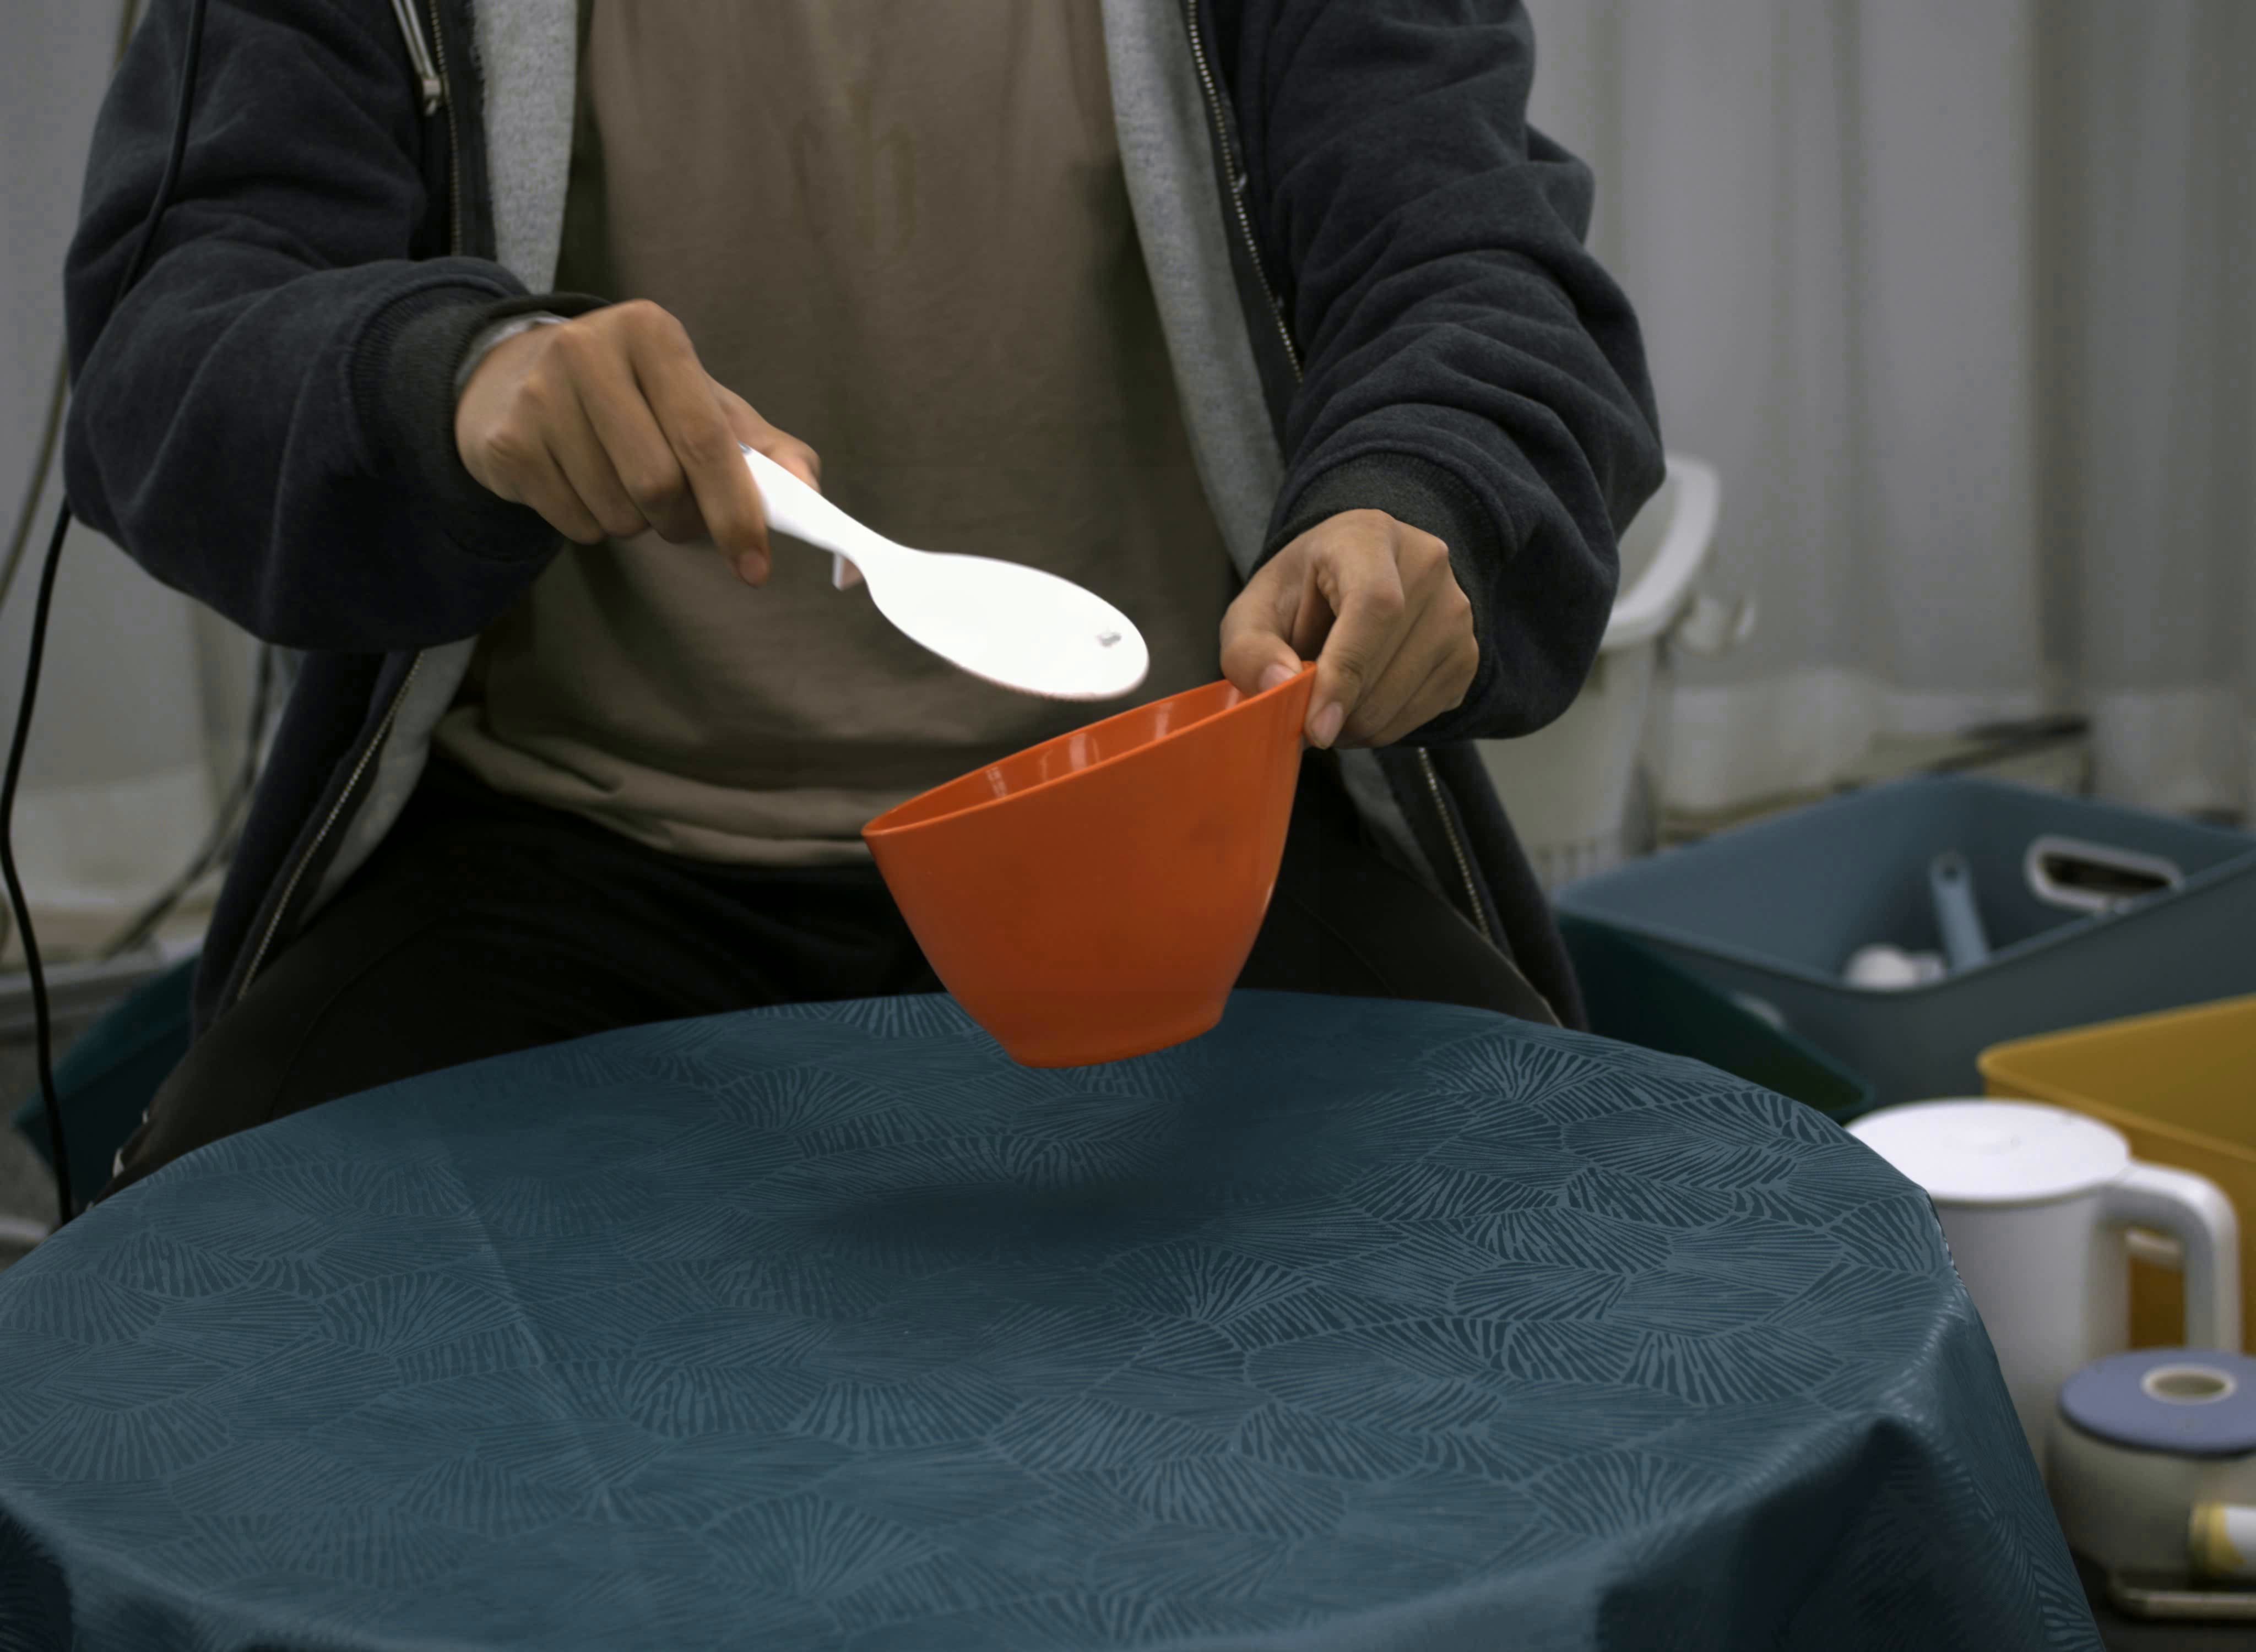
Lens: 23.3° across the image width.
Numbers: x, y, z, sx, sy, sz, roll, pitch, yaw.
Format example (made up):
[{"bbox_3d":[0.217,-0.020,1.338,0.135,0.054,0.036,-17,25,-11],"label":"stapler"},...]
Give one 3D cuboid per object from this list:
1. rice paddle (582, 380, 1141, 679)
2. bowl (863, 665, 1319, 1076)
[{"bbox_3d":[-0.083,-0.090,1.709,0.206,0.029,0.069,26,35,28],"label":"rice paddle"},{"bbox_3d":[-0.003,0.017,1.674,0.147,0.104,0.148,-13,9,2],"label":"bowl"}]
